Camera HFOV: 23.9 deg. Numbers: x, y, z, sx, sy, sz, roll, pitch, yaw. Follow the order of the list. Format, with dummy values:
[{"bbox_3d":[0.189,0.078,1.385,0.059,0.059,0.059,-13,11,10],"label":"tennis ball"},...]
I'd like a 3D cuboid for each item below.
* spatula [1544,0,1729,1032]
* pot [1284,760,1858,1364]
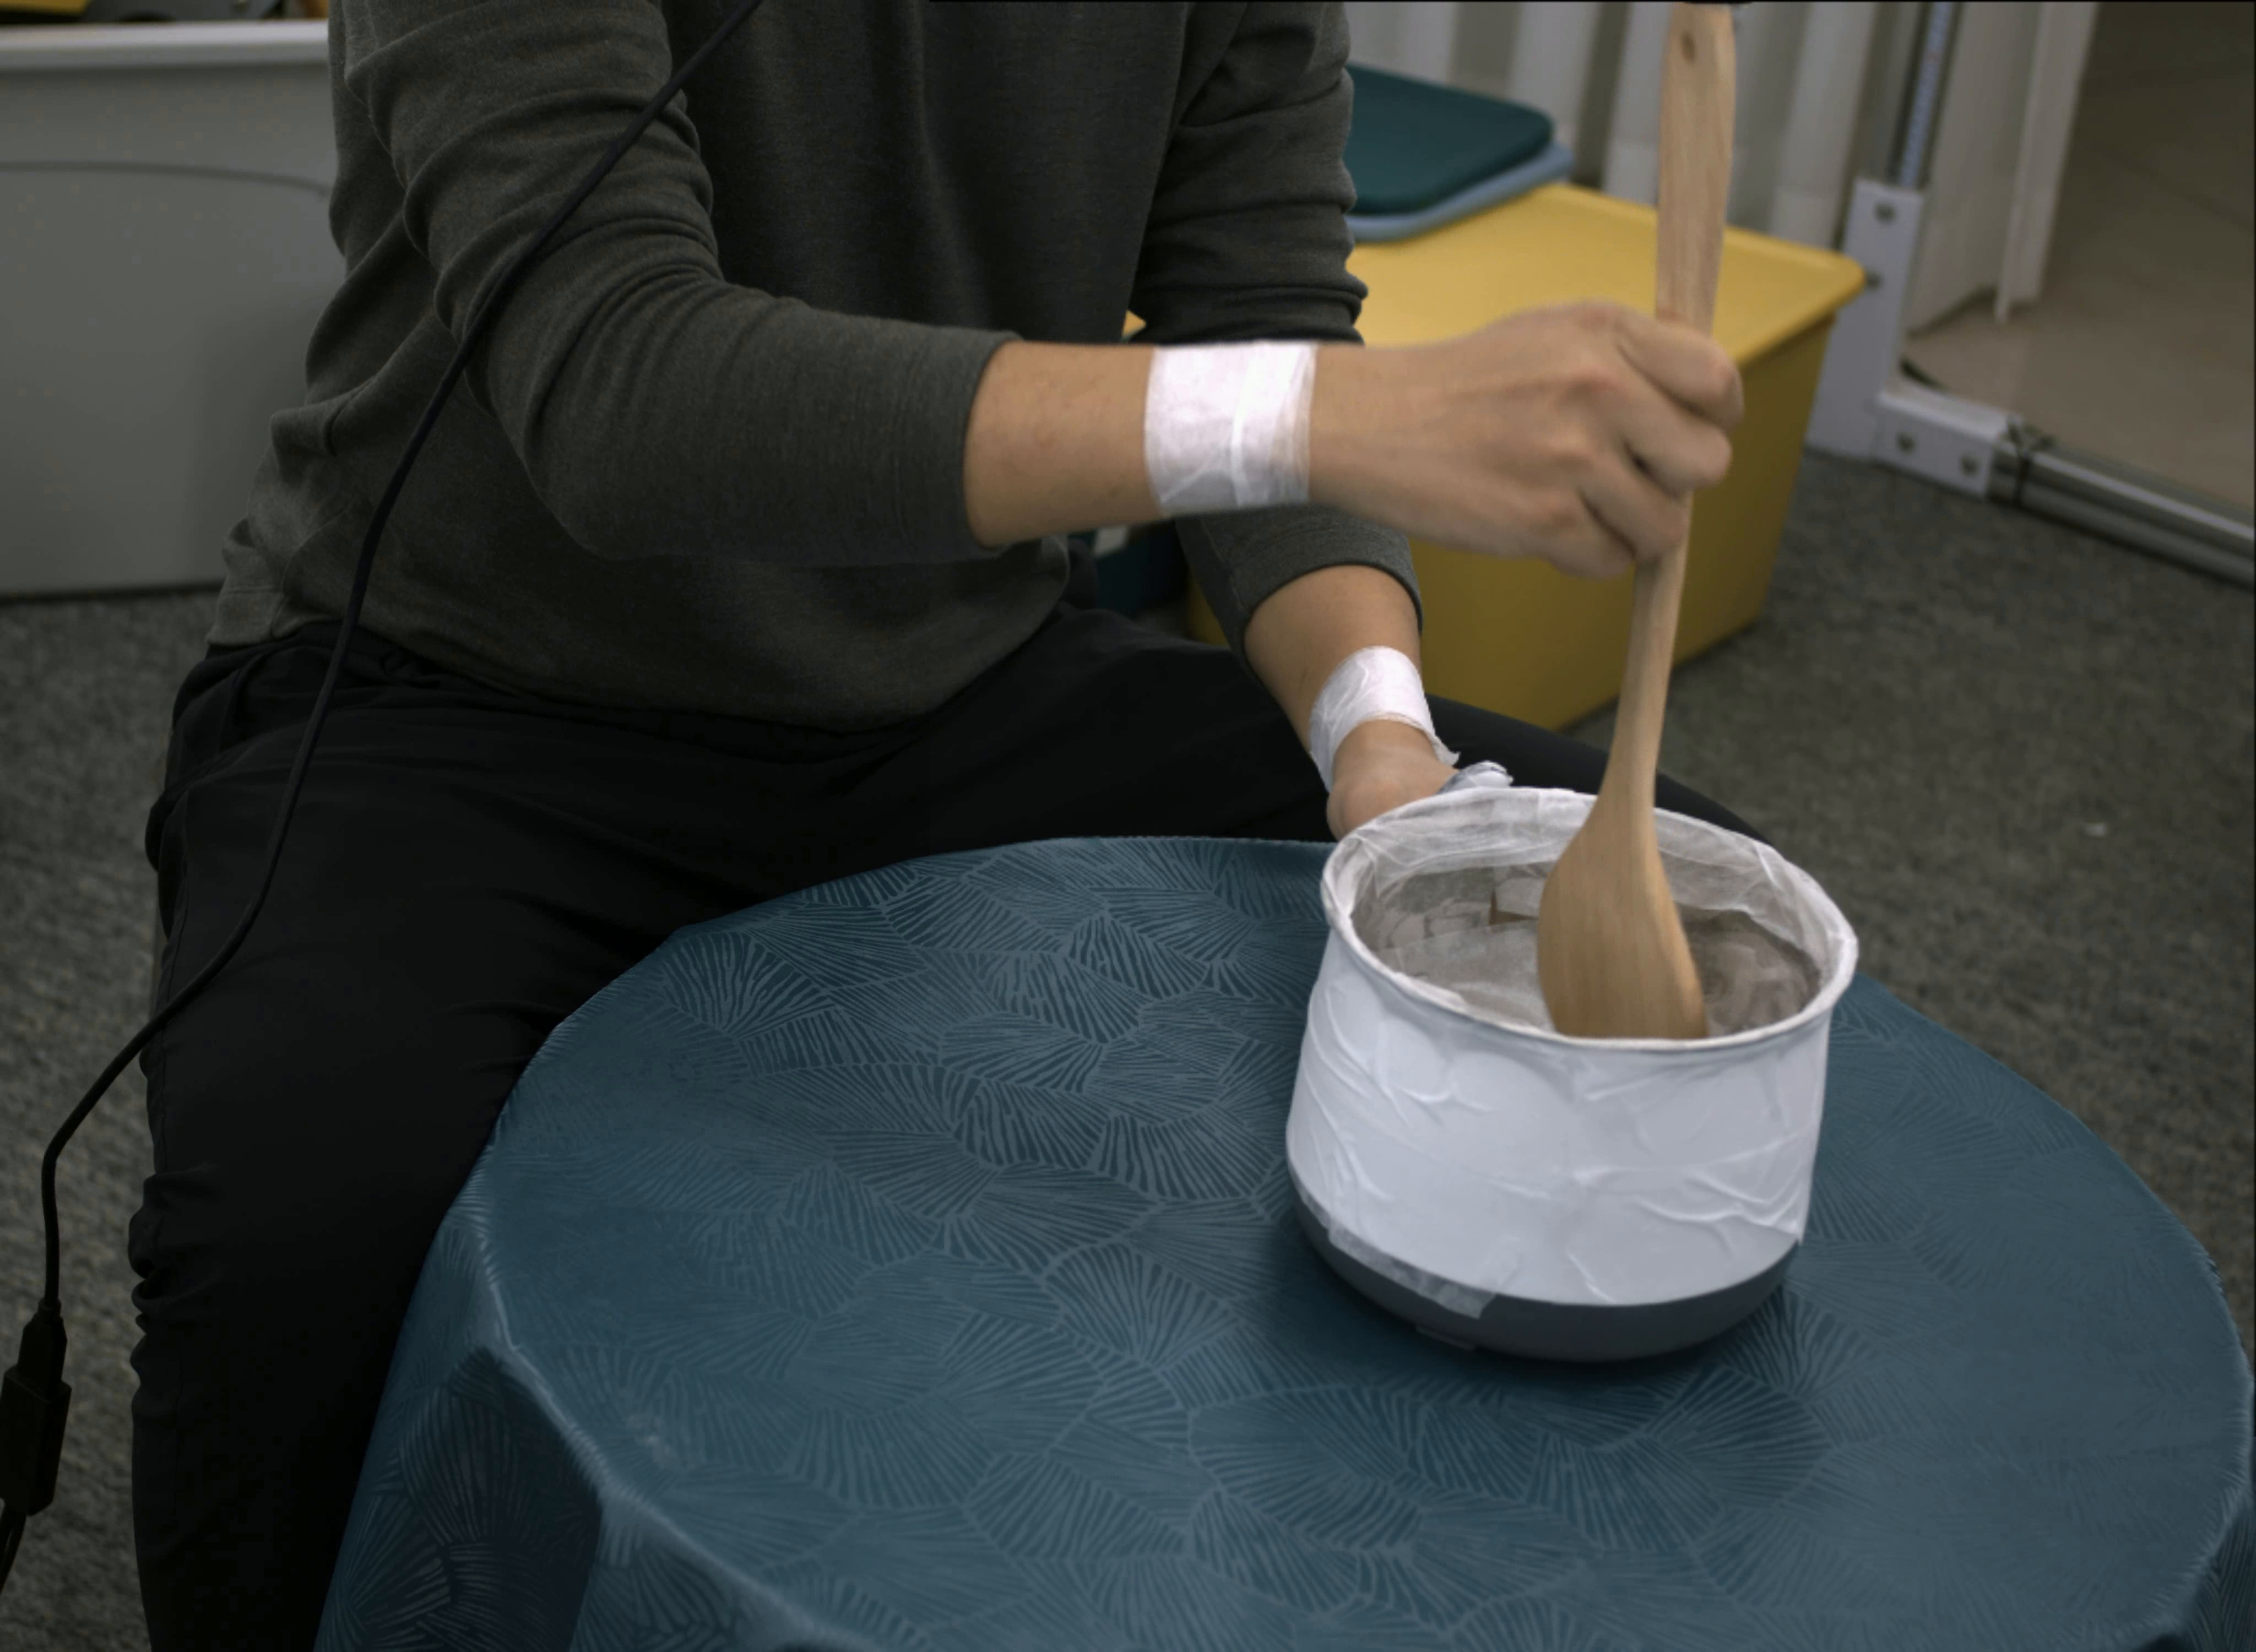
[{"bbox_3d":[0.171,-0.085,1.694,0.018,0.390,0.096,-11,26,-29],"label":"spatula"},{"bbox_3d":[0.135,0.072,1.788,0.177,0.136,0.236,-2,28,-18],"label":"pot"}]
